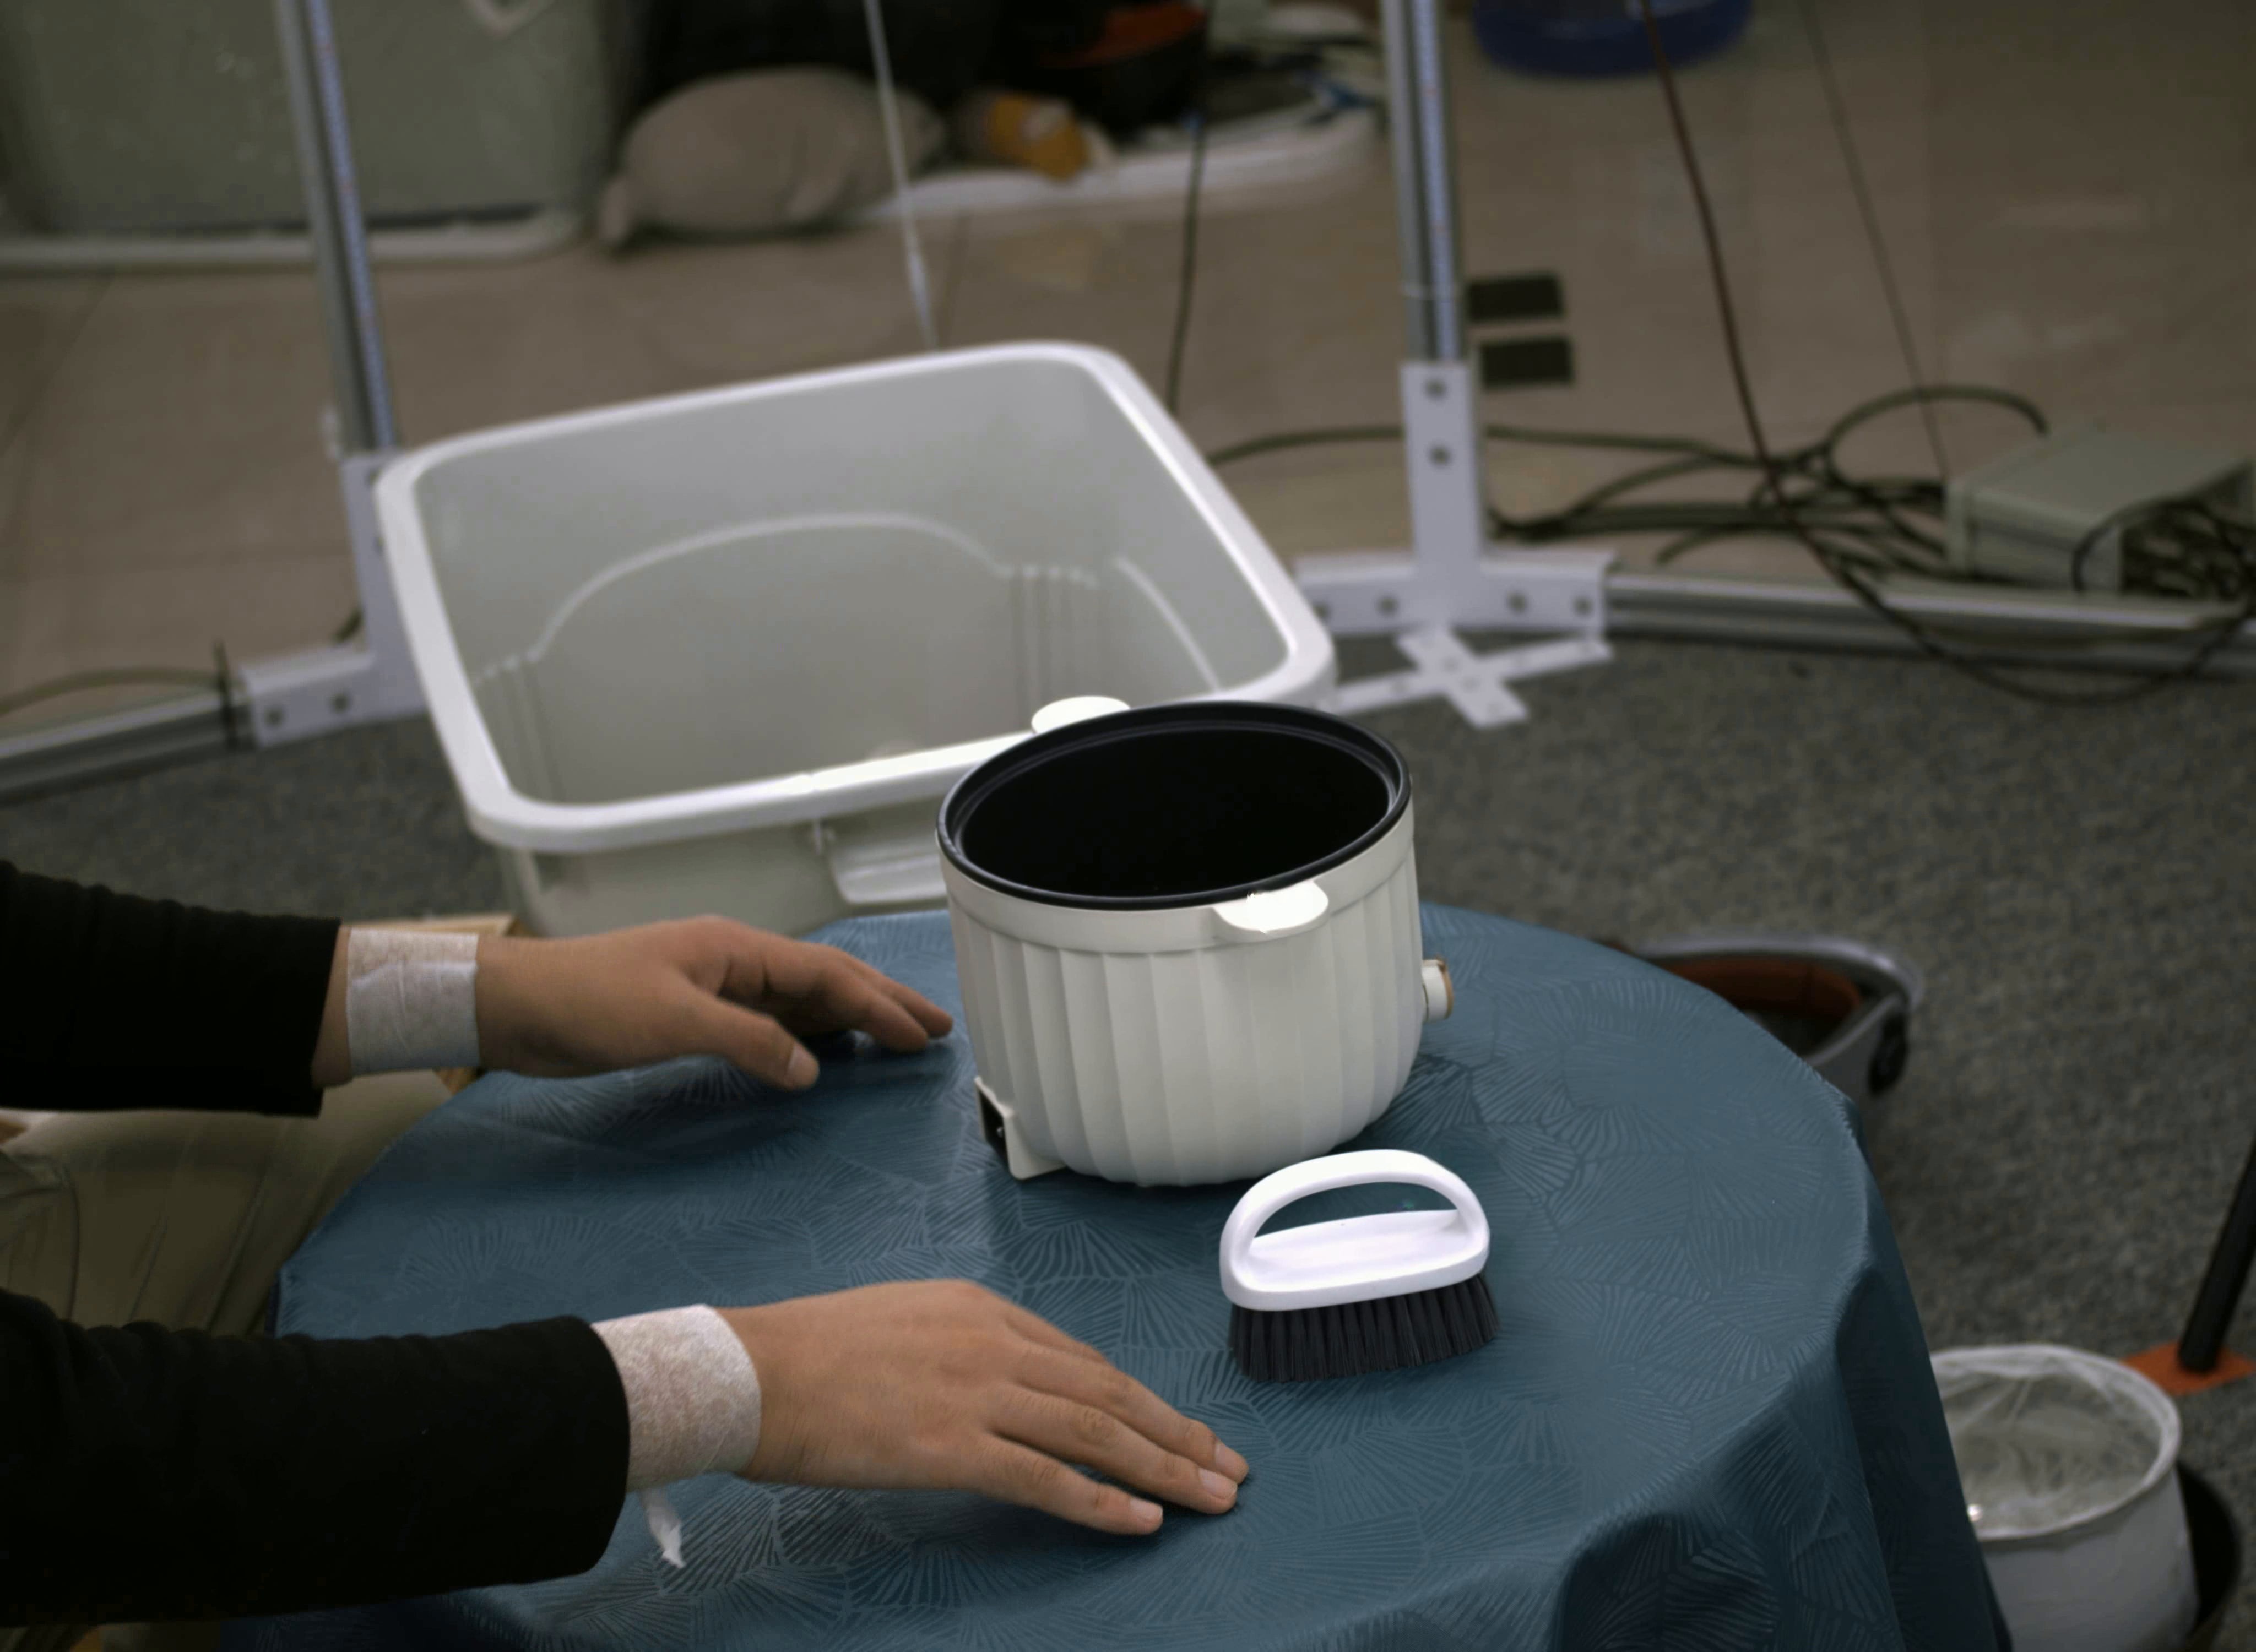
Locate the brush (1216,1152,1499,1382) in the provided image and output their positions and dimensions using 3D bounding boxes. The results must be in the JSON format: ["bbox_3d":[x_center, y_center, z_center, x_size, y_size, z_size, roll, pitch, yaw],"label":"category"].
[{"bbox_3d":[0.079,0.151,2.015,0.099,0.073,0.049,-8,25,-3],"label":"brush"}]

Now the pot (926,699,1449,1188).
[{"bbox_3d":[0.027,0.048,2.171,0.190,0.145,0.237,-17,28,-16],"label":"pot"}]
